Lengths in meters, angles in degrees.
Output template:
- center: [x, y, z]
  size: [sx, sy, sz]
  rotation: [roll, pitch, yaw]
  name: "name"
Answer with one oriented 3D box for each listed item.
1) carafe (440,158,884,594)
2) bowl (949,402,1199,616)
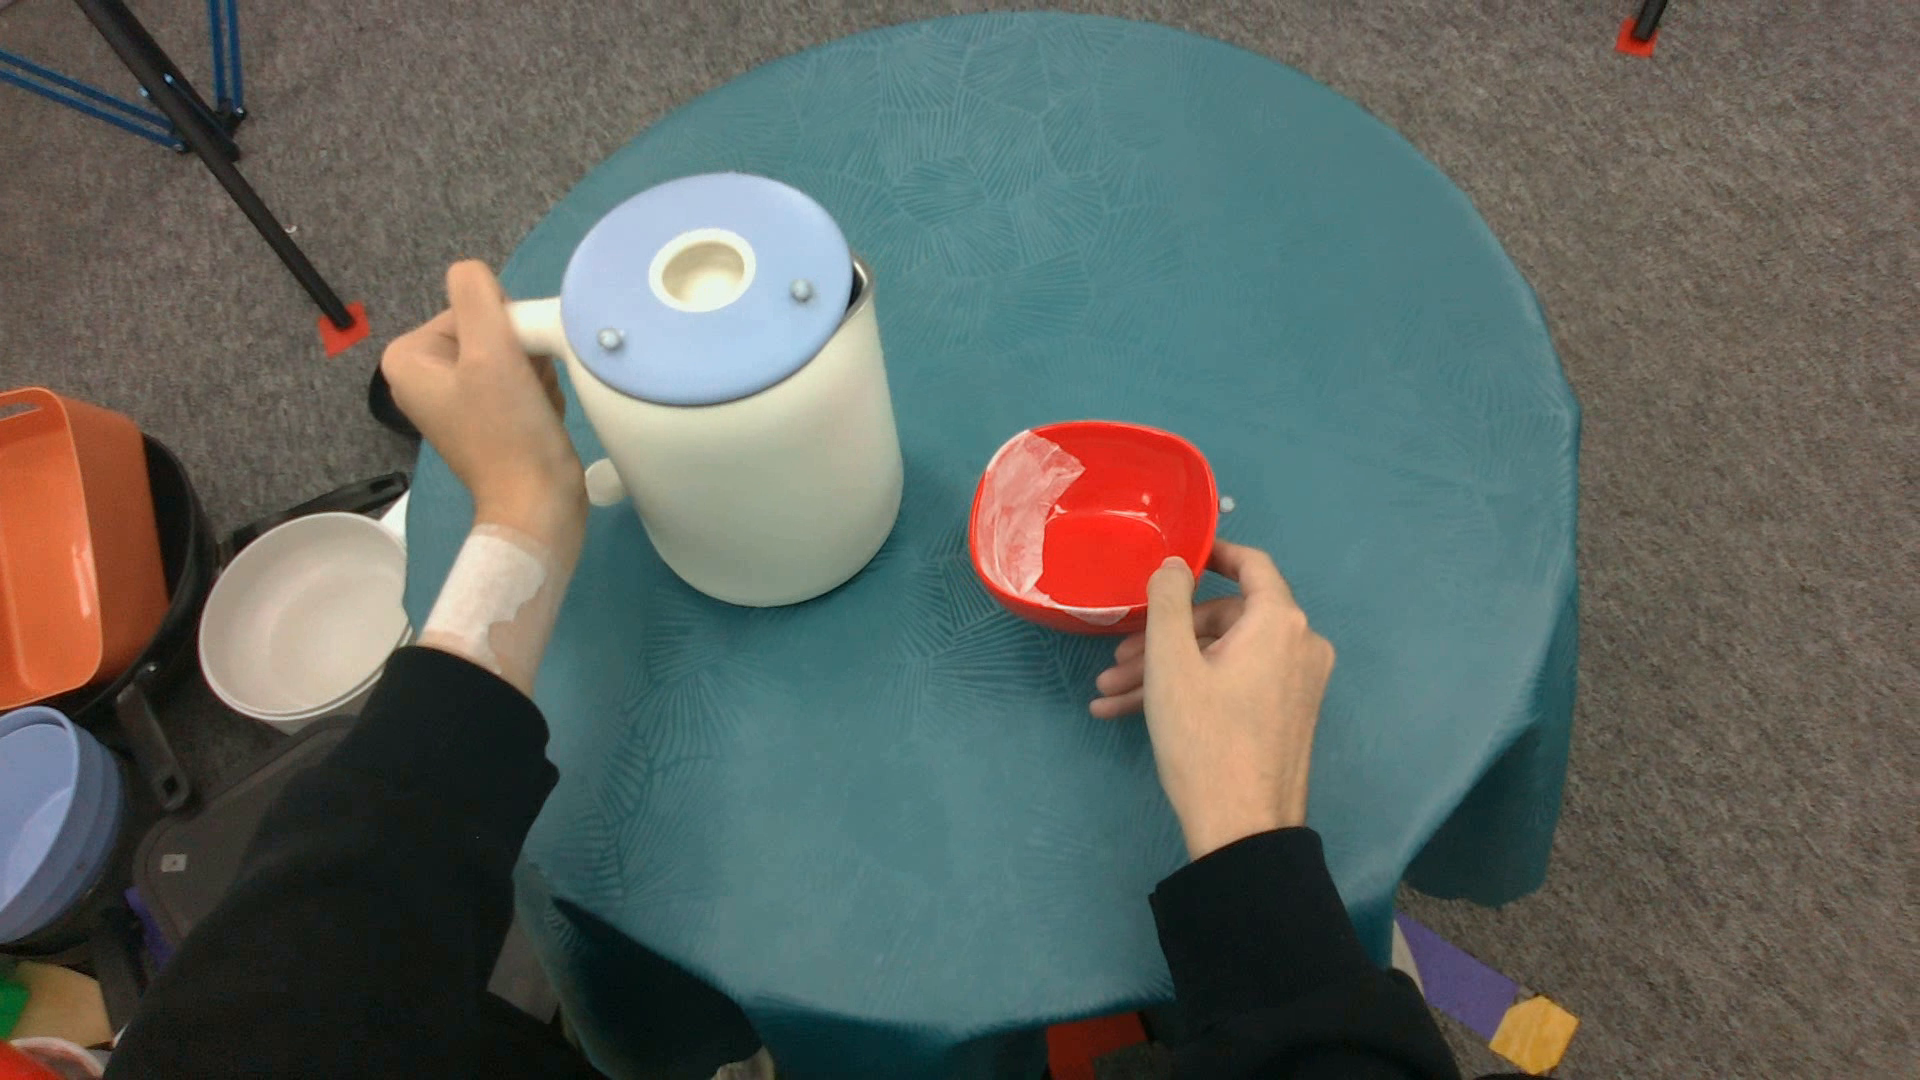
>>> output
- center: [-0.132, -0.067, 0.627]
  size: [0.191, 0.182, 0.133]
  rotation: [-4, 59, 4]
  name: "carafe"
- center: [0.052, -0.007, 0.631]
  size: [0.119, 0.051, 0.119]
  rotation: [-2, 49, 3]
  name: "bowl"
